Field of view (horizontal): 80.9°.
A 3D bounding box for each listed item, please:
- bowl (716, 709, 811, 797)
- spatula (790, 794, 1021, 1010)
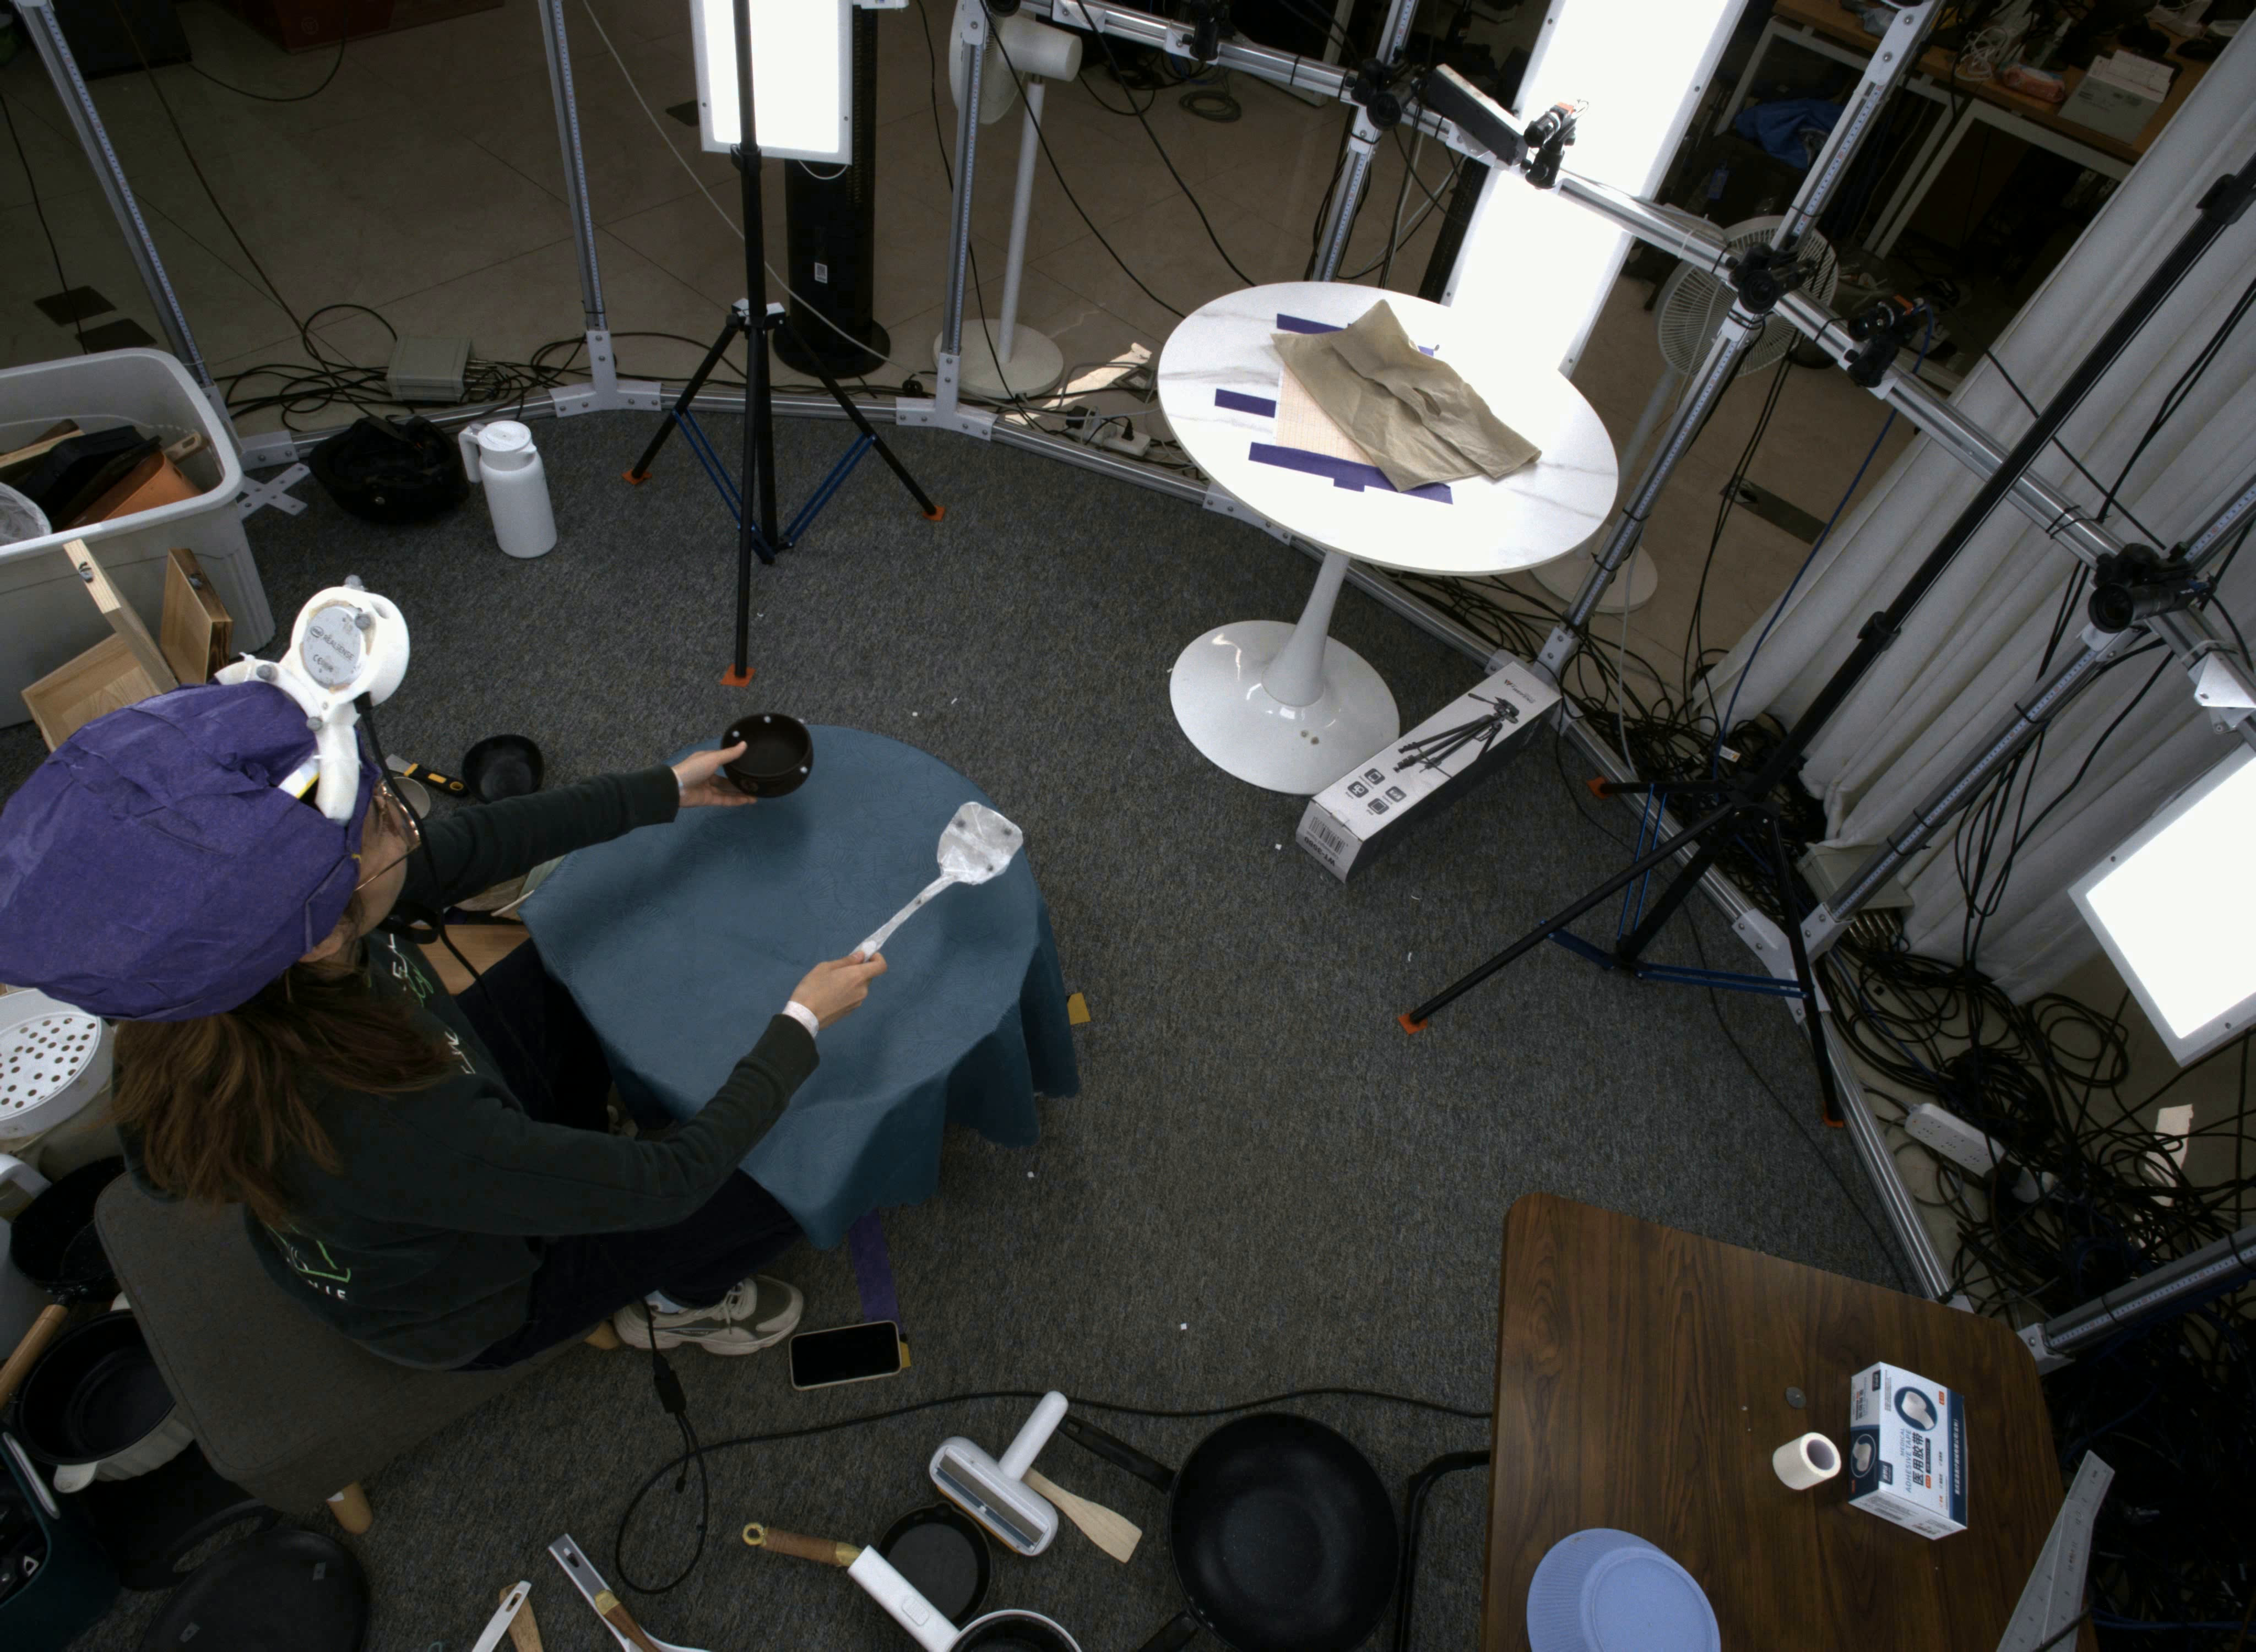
[{"bbox_3d":[-0.467,-0.086,1.669,0.117,0.072,0.116,4,50,-3],"label":"bowl"},{"bbox_3d":[-0.268,0.093,1.552,0.097,0.046,0.364,34,52,13],"label":"spatula"}]
